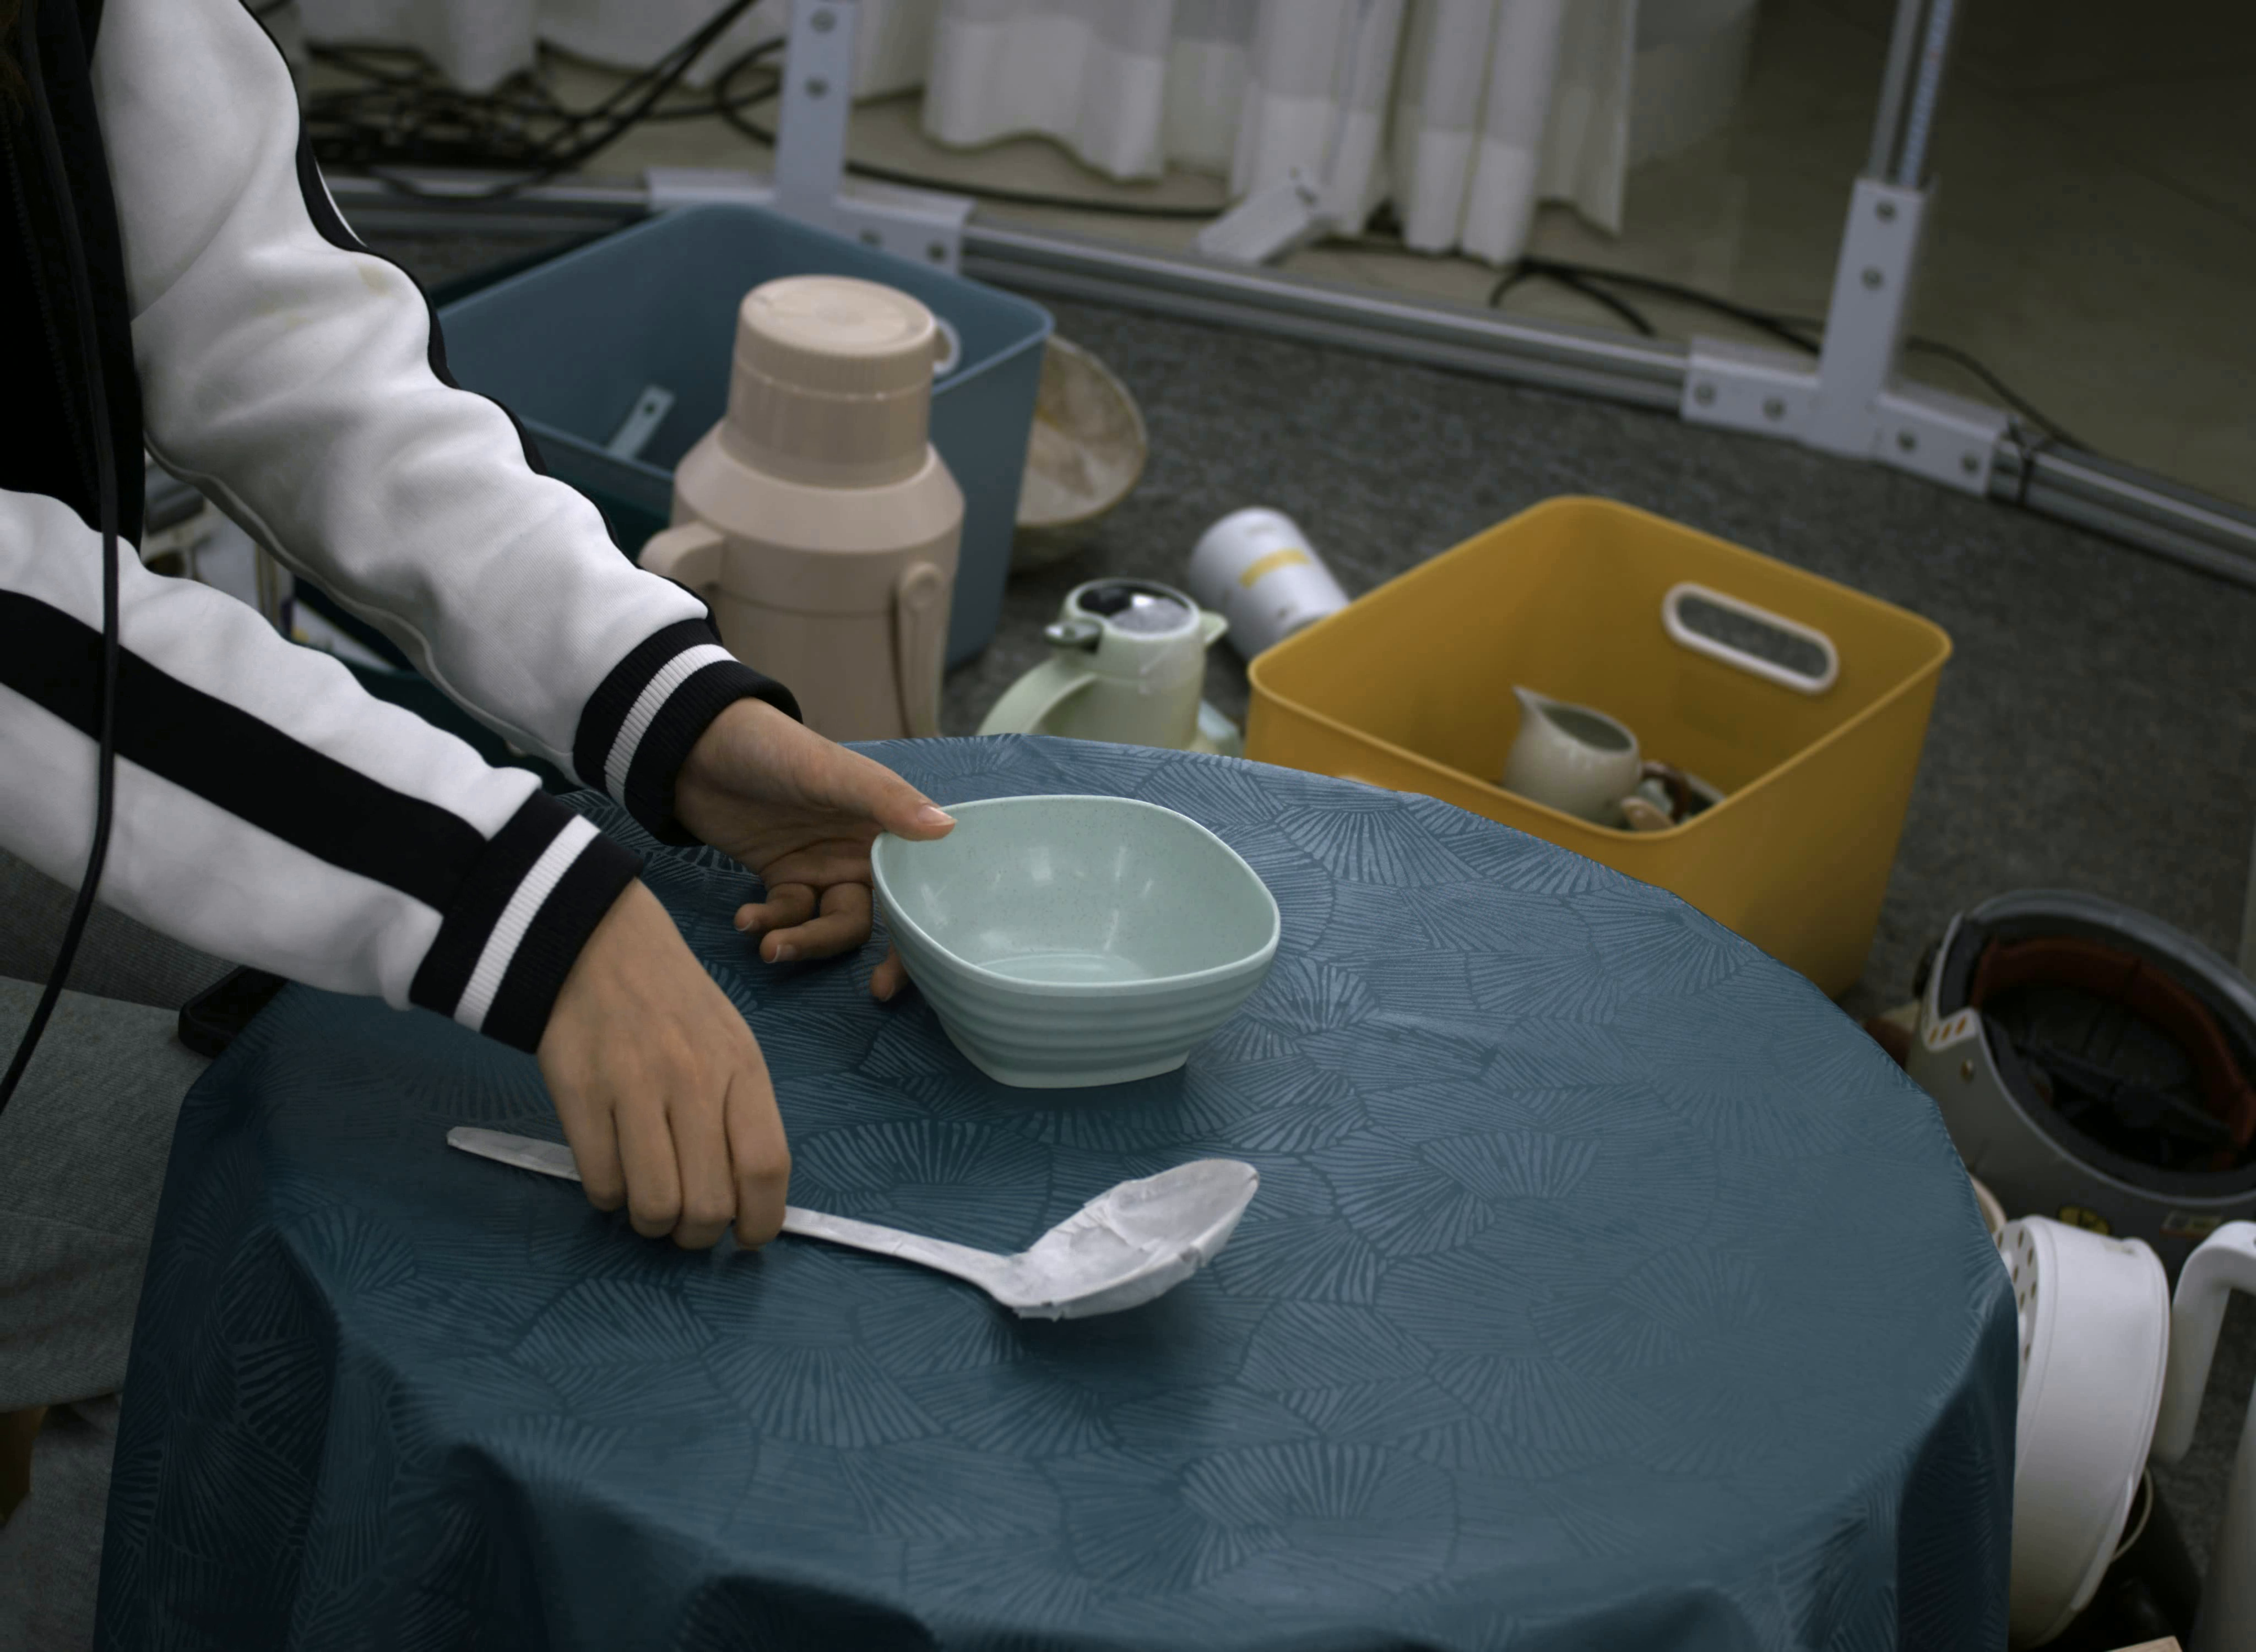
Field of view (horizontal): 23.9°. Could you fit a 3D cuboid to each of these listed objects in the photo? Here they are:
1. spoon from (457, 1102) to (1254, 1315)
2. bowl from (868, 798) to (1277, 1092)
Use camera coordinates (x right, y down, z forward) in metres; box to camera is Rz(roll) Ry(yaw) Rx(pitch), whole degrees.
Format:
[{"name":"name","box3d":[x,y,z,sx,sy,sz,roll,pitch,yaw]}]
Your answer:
[{"name":"spoon","box3d":[-0.093,0.107,1.753,0.278,0.059,0.100,15,22,17]},{"name":"bowl","box3d":[-0.023,0.048,1.886,0.151,0.058,0.152,6,27,-3]}]
